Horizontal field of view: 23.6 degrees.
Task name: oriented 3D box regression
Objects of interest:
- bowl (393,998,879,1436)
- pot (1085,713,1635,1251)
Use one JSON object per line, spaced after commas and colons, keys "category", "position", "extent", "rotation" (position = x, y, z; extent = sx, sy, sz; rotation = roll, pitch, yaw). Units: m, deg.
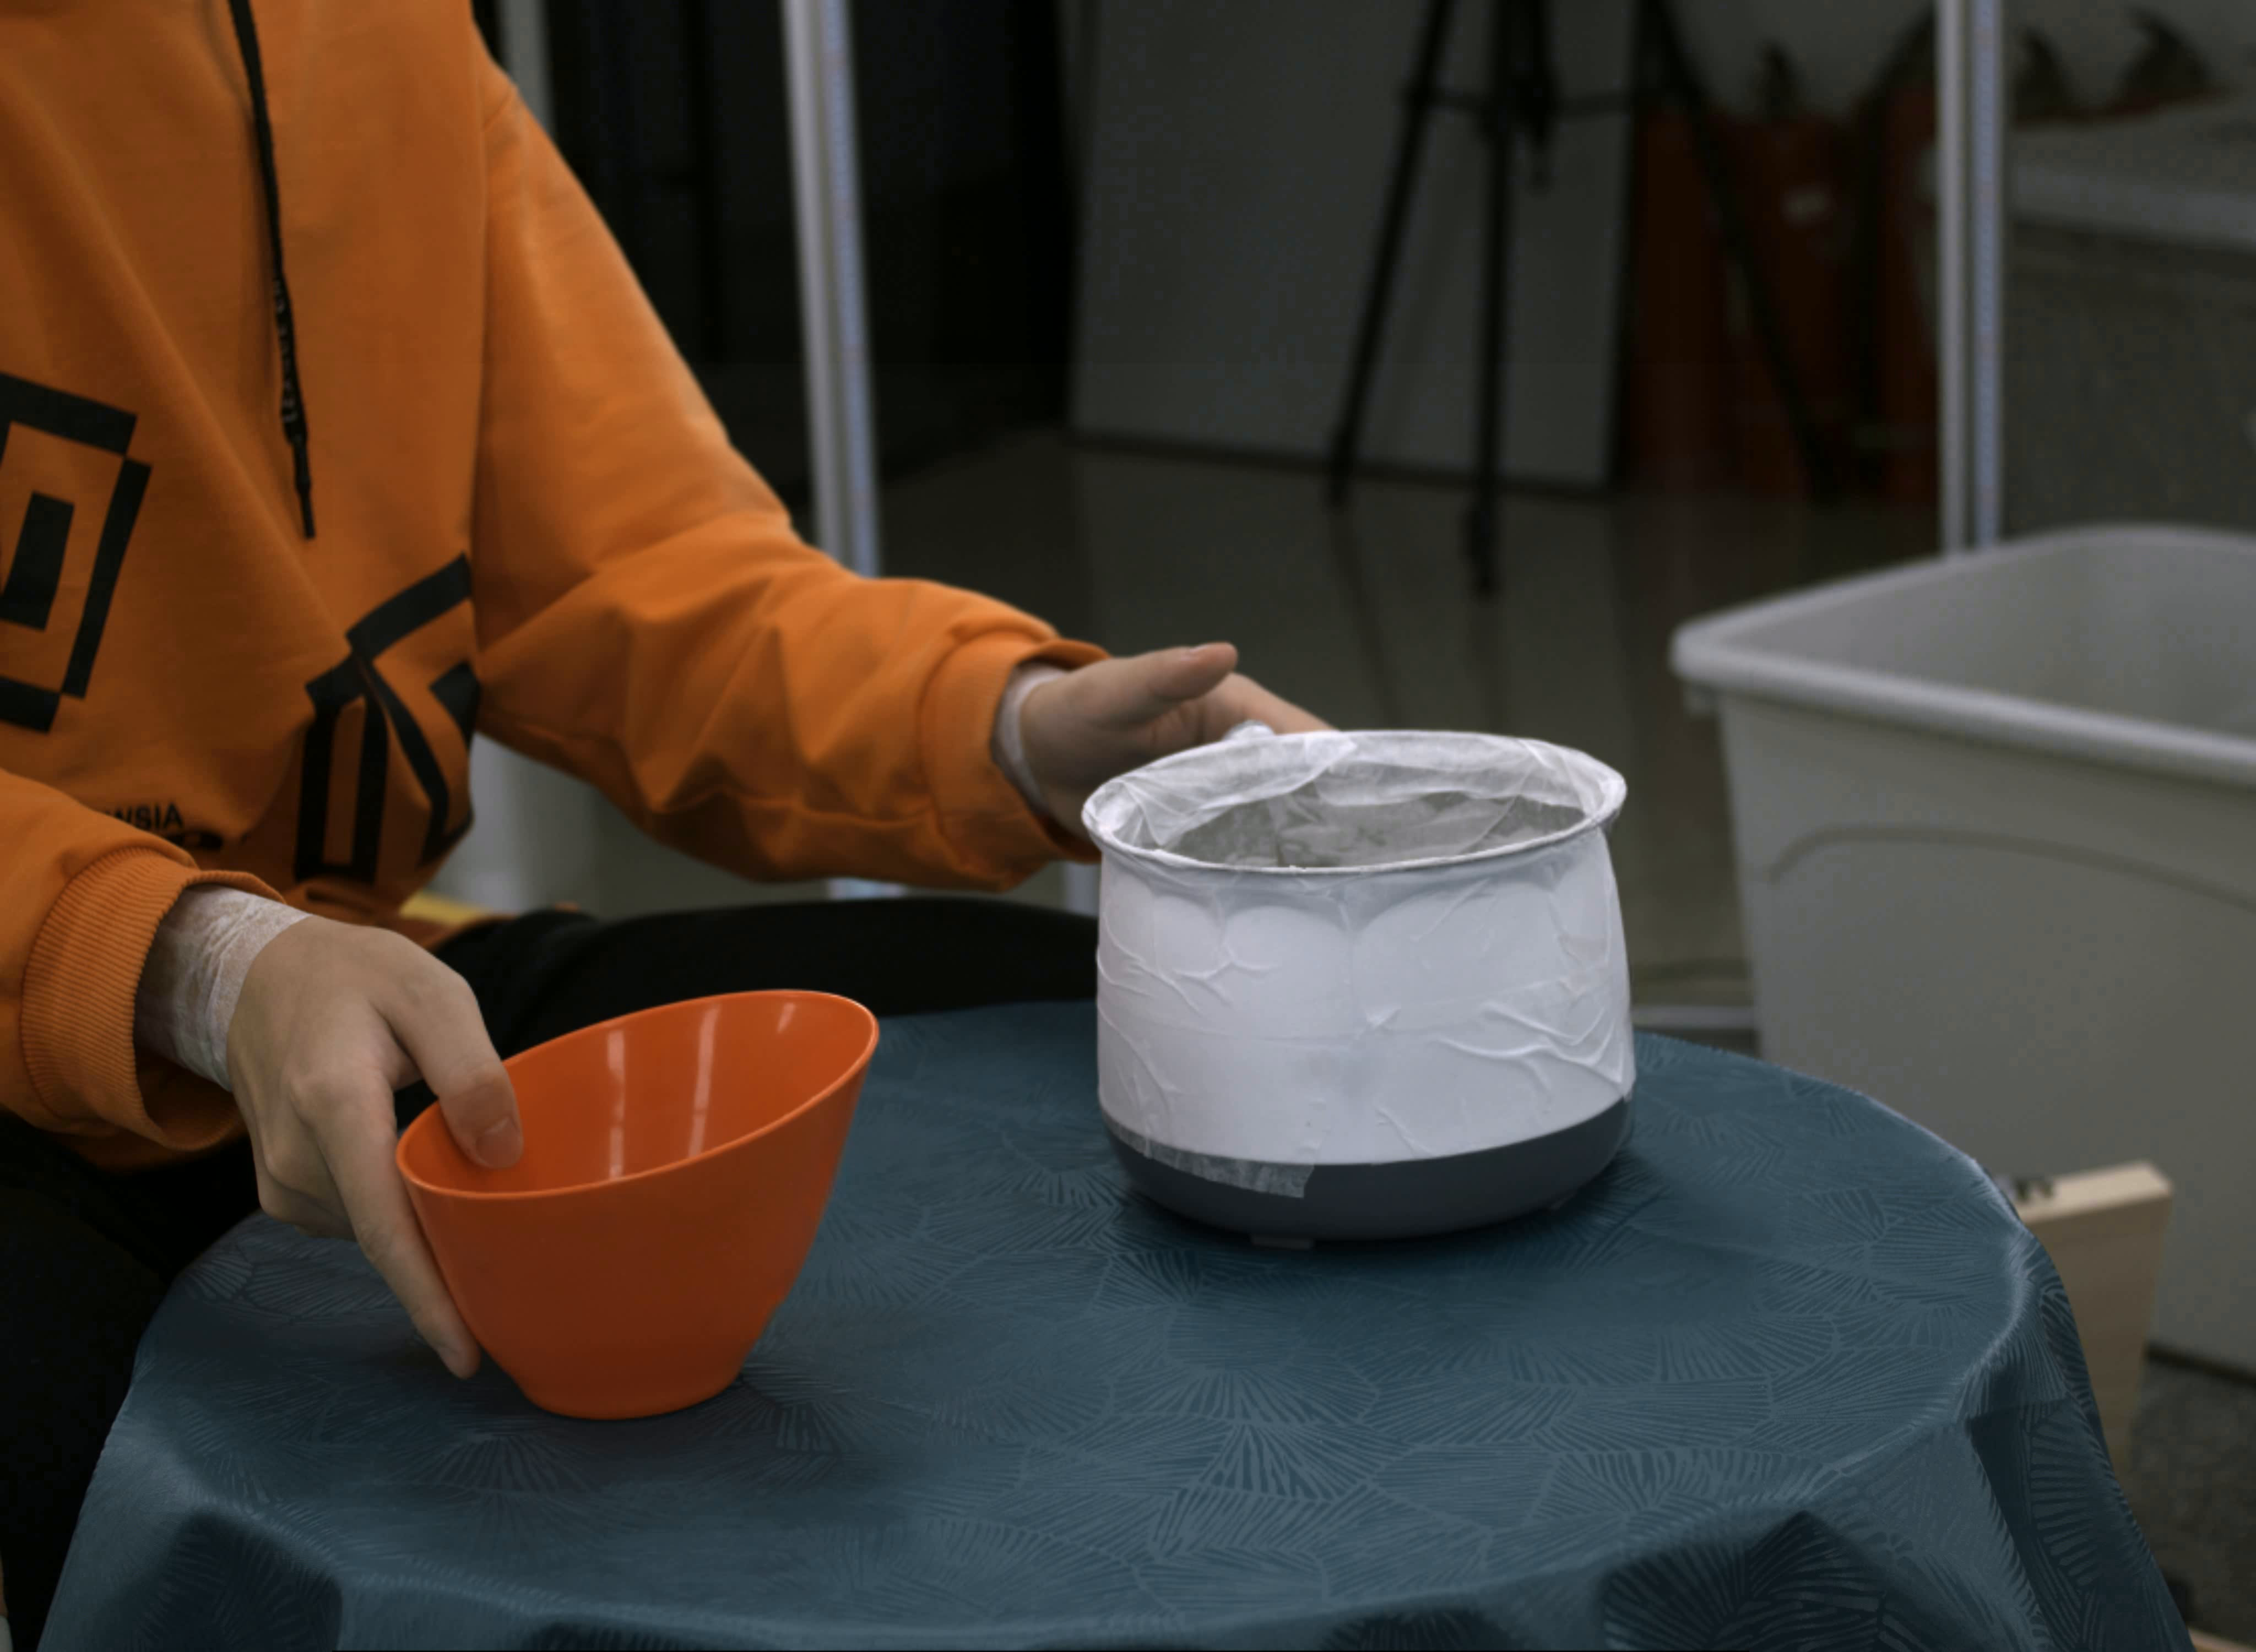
{"category": "bowl", "position": [-0.142, 0.120, 1.607], "extent": [0.146, 0.105, 0.148], "rotation": [-5, 18, 1]}
{"category": "pot", "position": [0.067, 0.045, 1.771], "extent": [0.175, 0.138, 0.236], "rotation": [-8, 15, -18]}
